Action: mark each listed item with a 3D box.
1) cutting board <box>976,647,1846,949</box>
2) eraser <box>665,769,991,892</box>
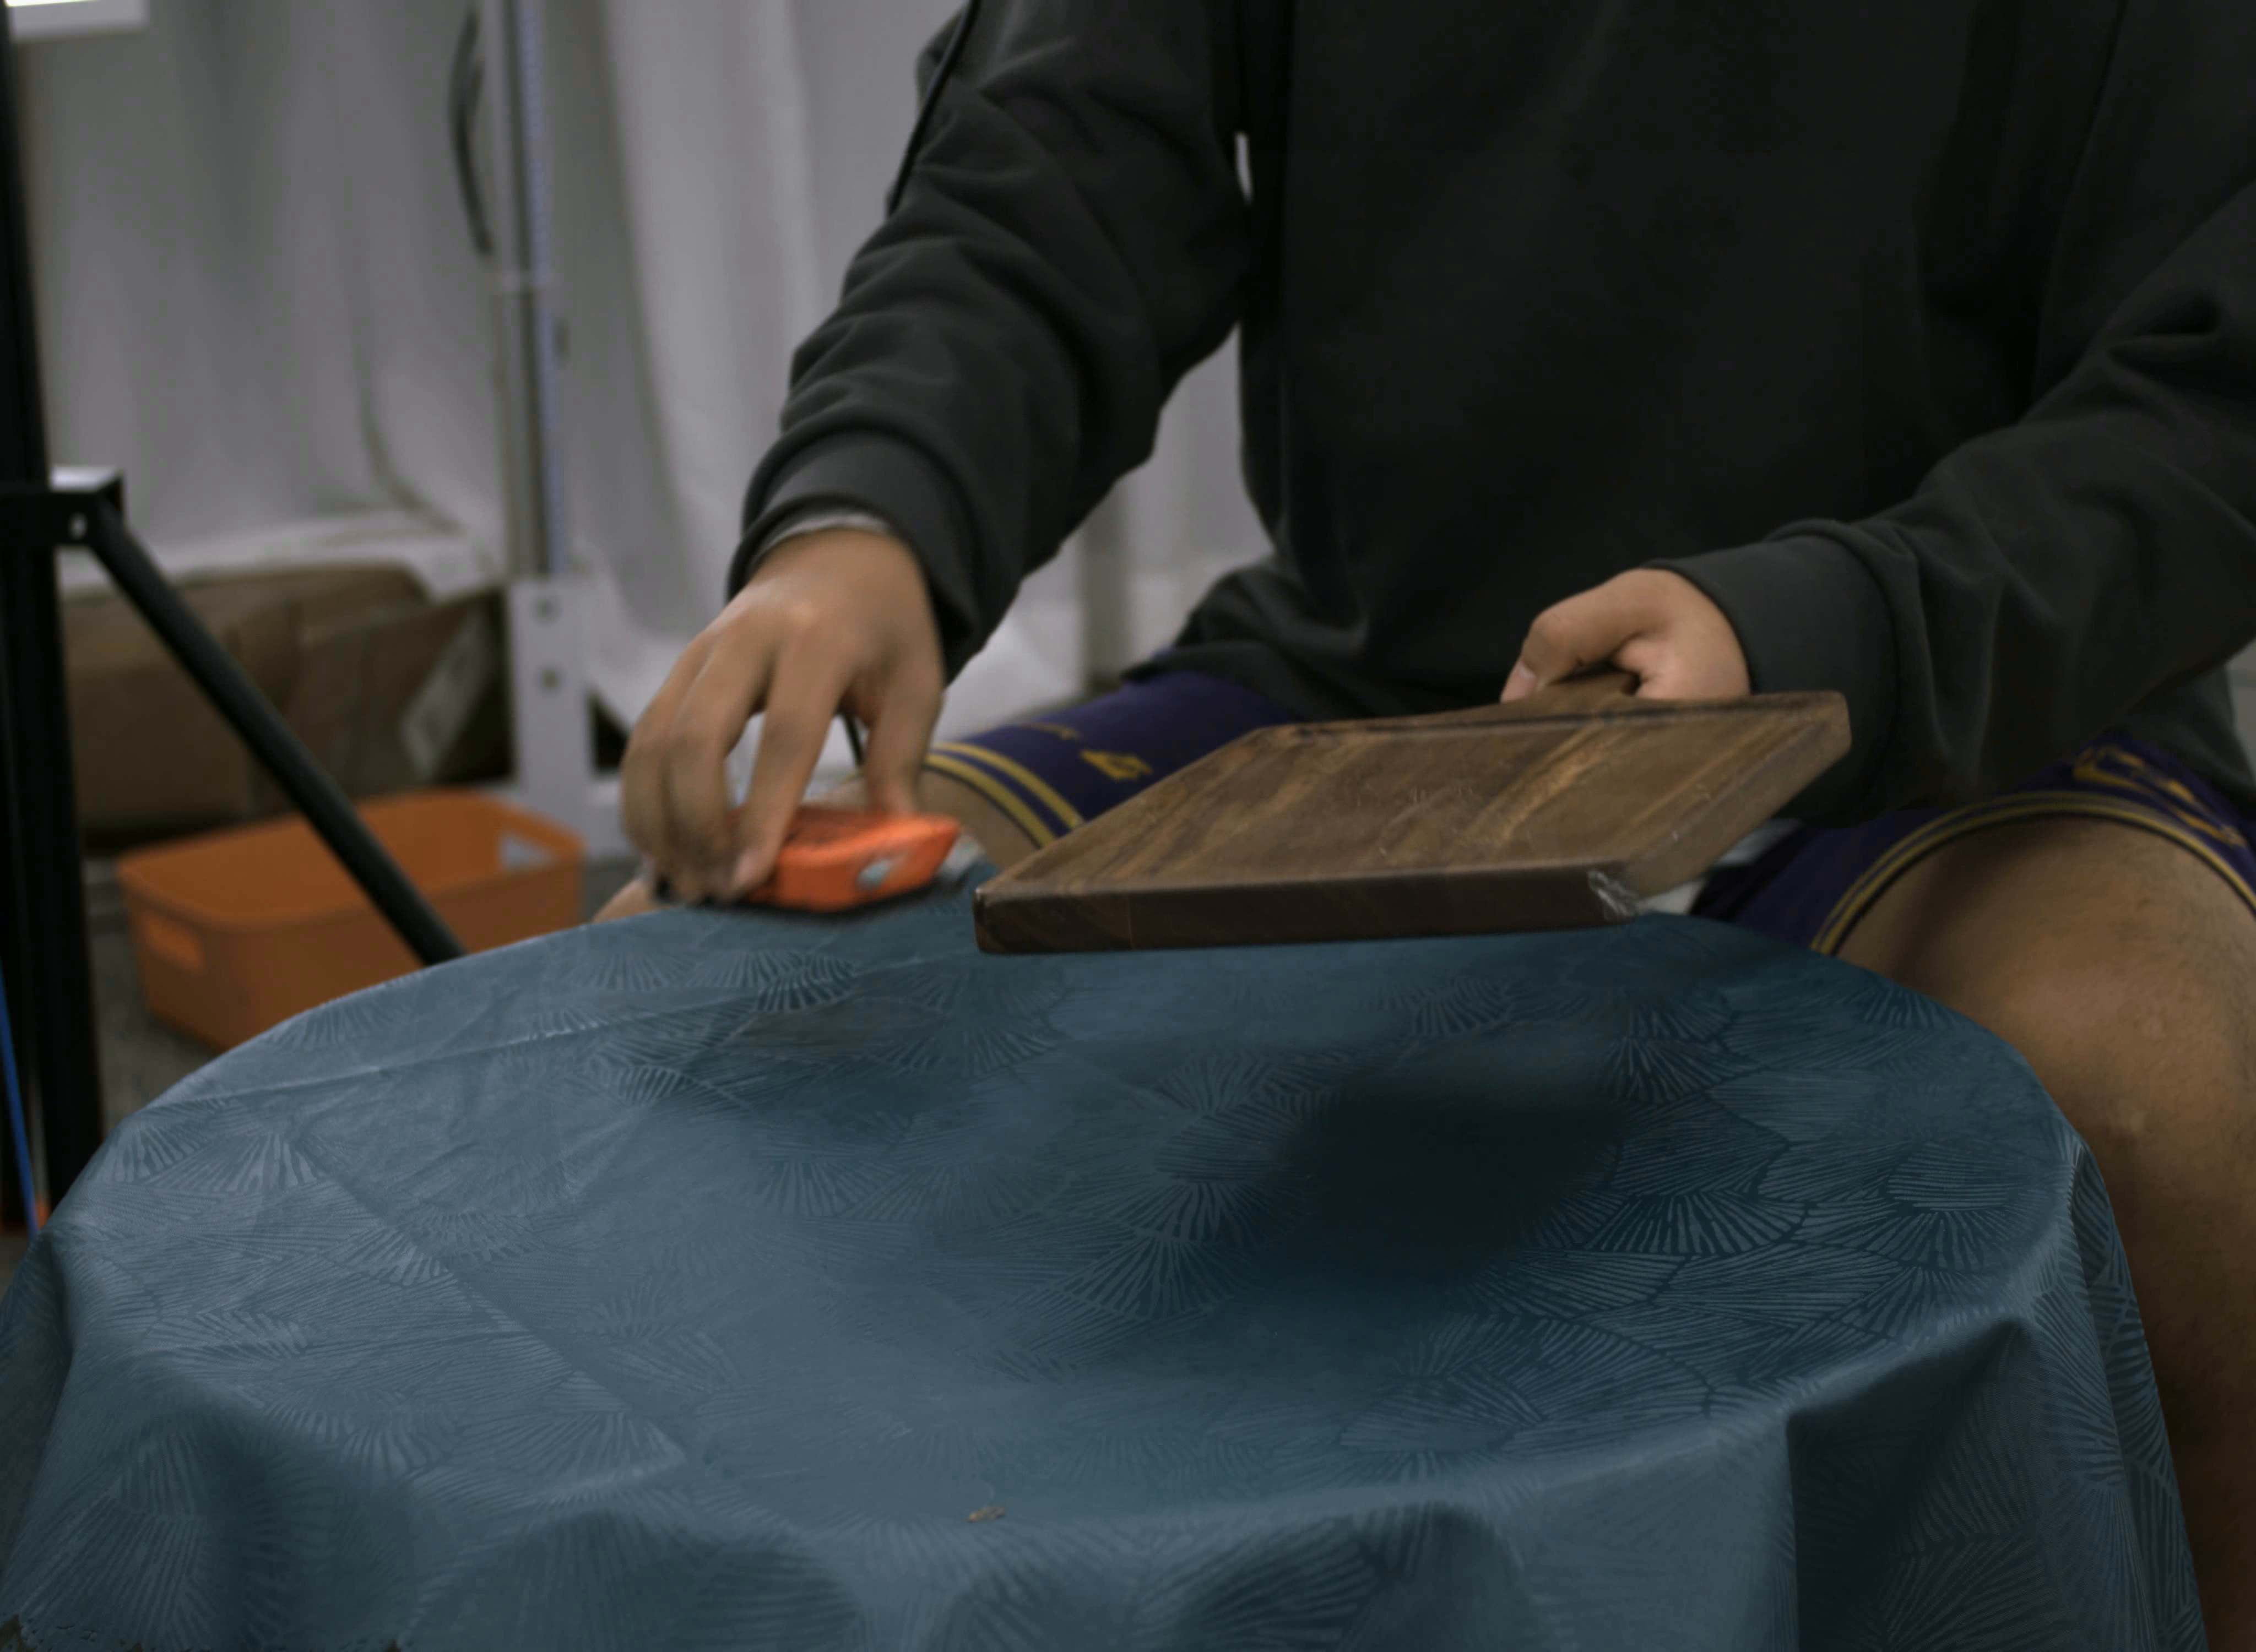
[{"bbox_3d":[0.104,-0.014,1.585,0.203,0.023,0.347,-4,10,22],"label":"cutting board"},{"bbox_3d":[-0.096,0.001,1.691,0.058,0.023,0.110,-20,14,-36],"label":"eraser"}]
